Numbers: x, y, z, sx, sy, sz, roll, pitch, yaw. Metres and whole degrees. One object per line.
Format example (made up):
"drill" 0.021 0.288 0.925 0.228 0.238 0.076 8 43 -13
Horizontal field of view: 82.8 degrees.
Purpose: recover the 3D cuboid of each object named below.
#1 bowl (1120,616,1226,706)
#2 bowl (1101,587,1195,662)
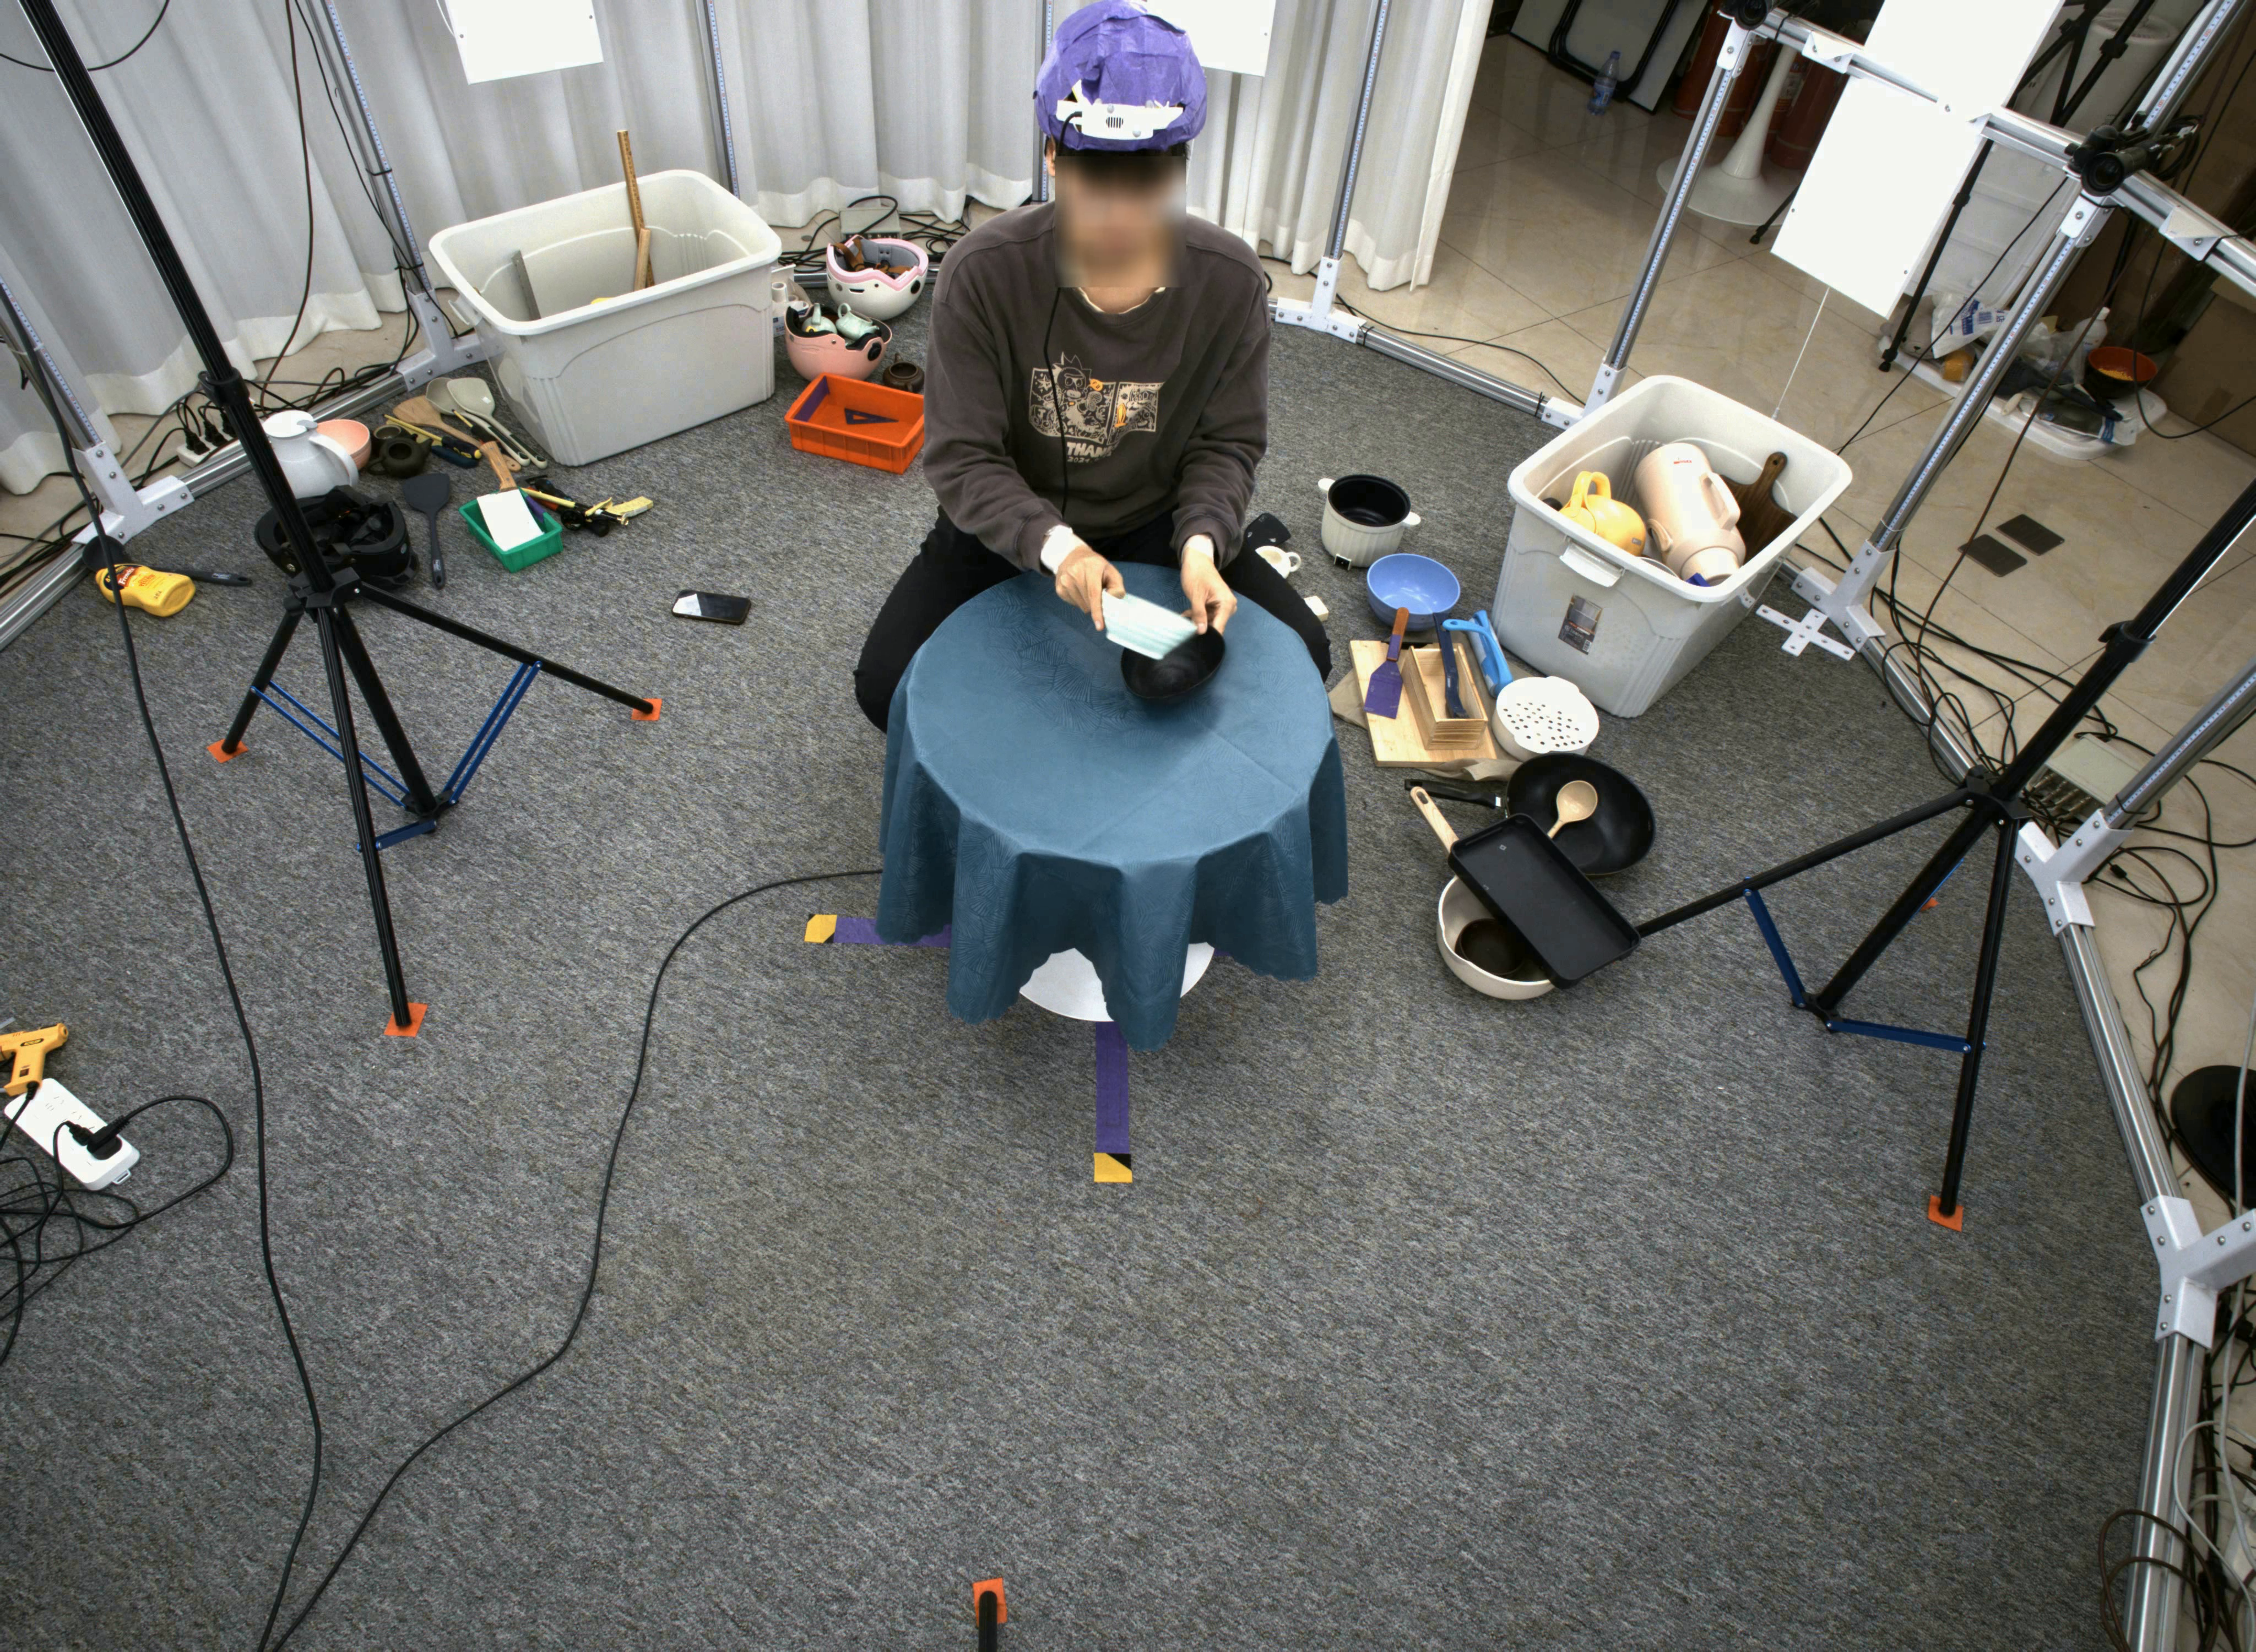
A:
"bowl" 0.064 -0.221 1.815 0.139 0.065 0.172 27 56 23
"bowl" 0.018 -0.270 1.758 0.151 0.058 0.153 25 13 -6
